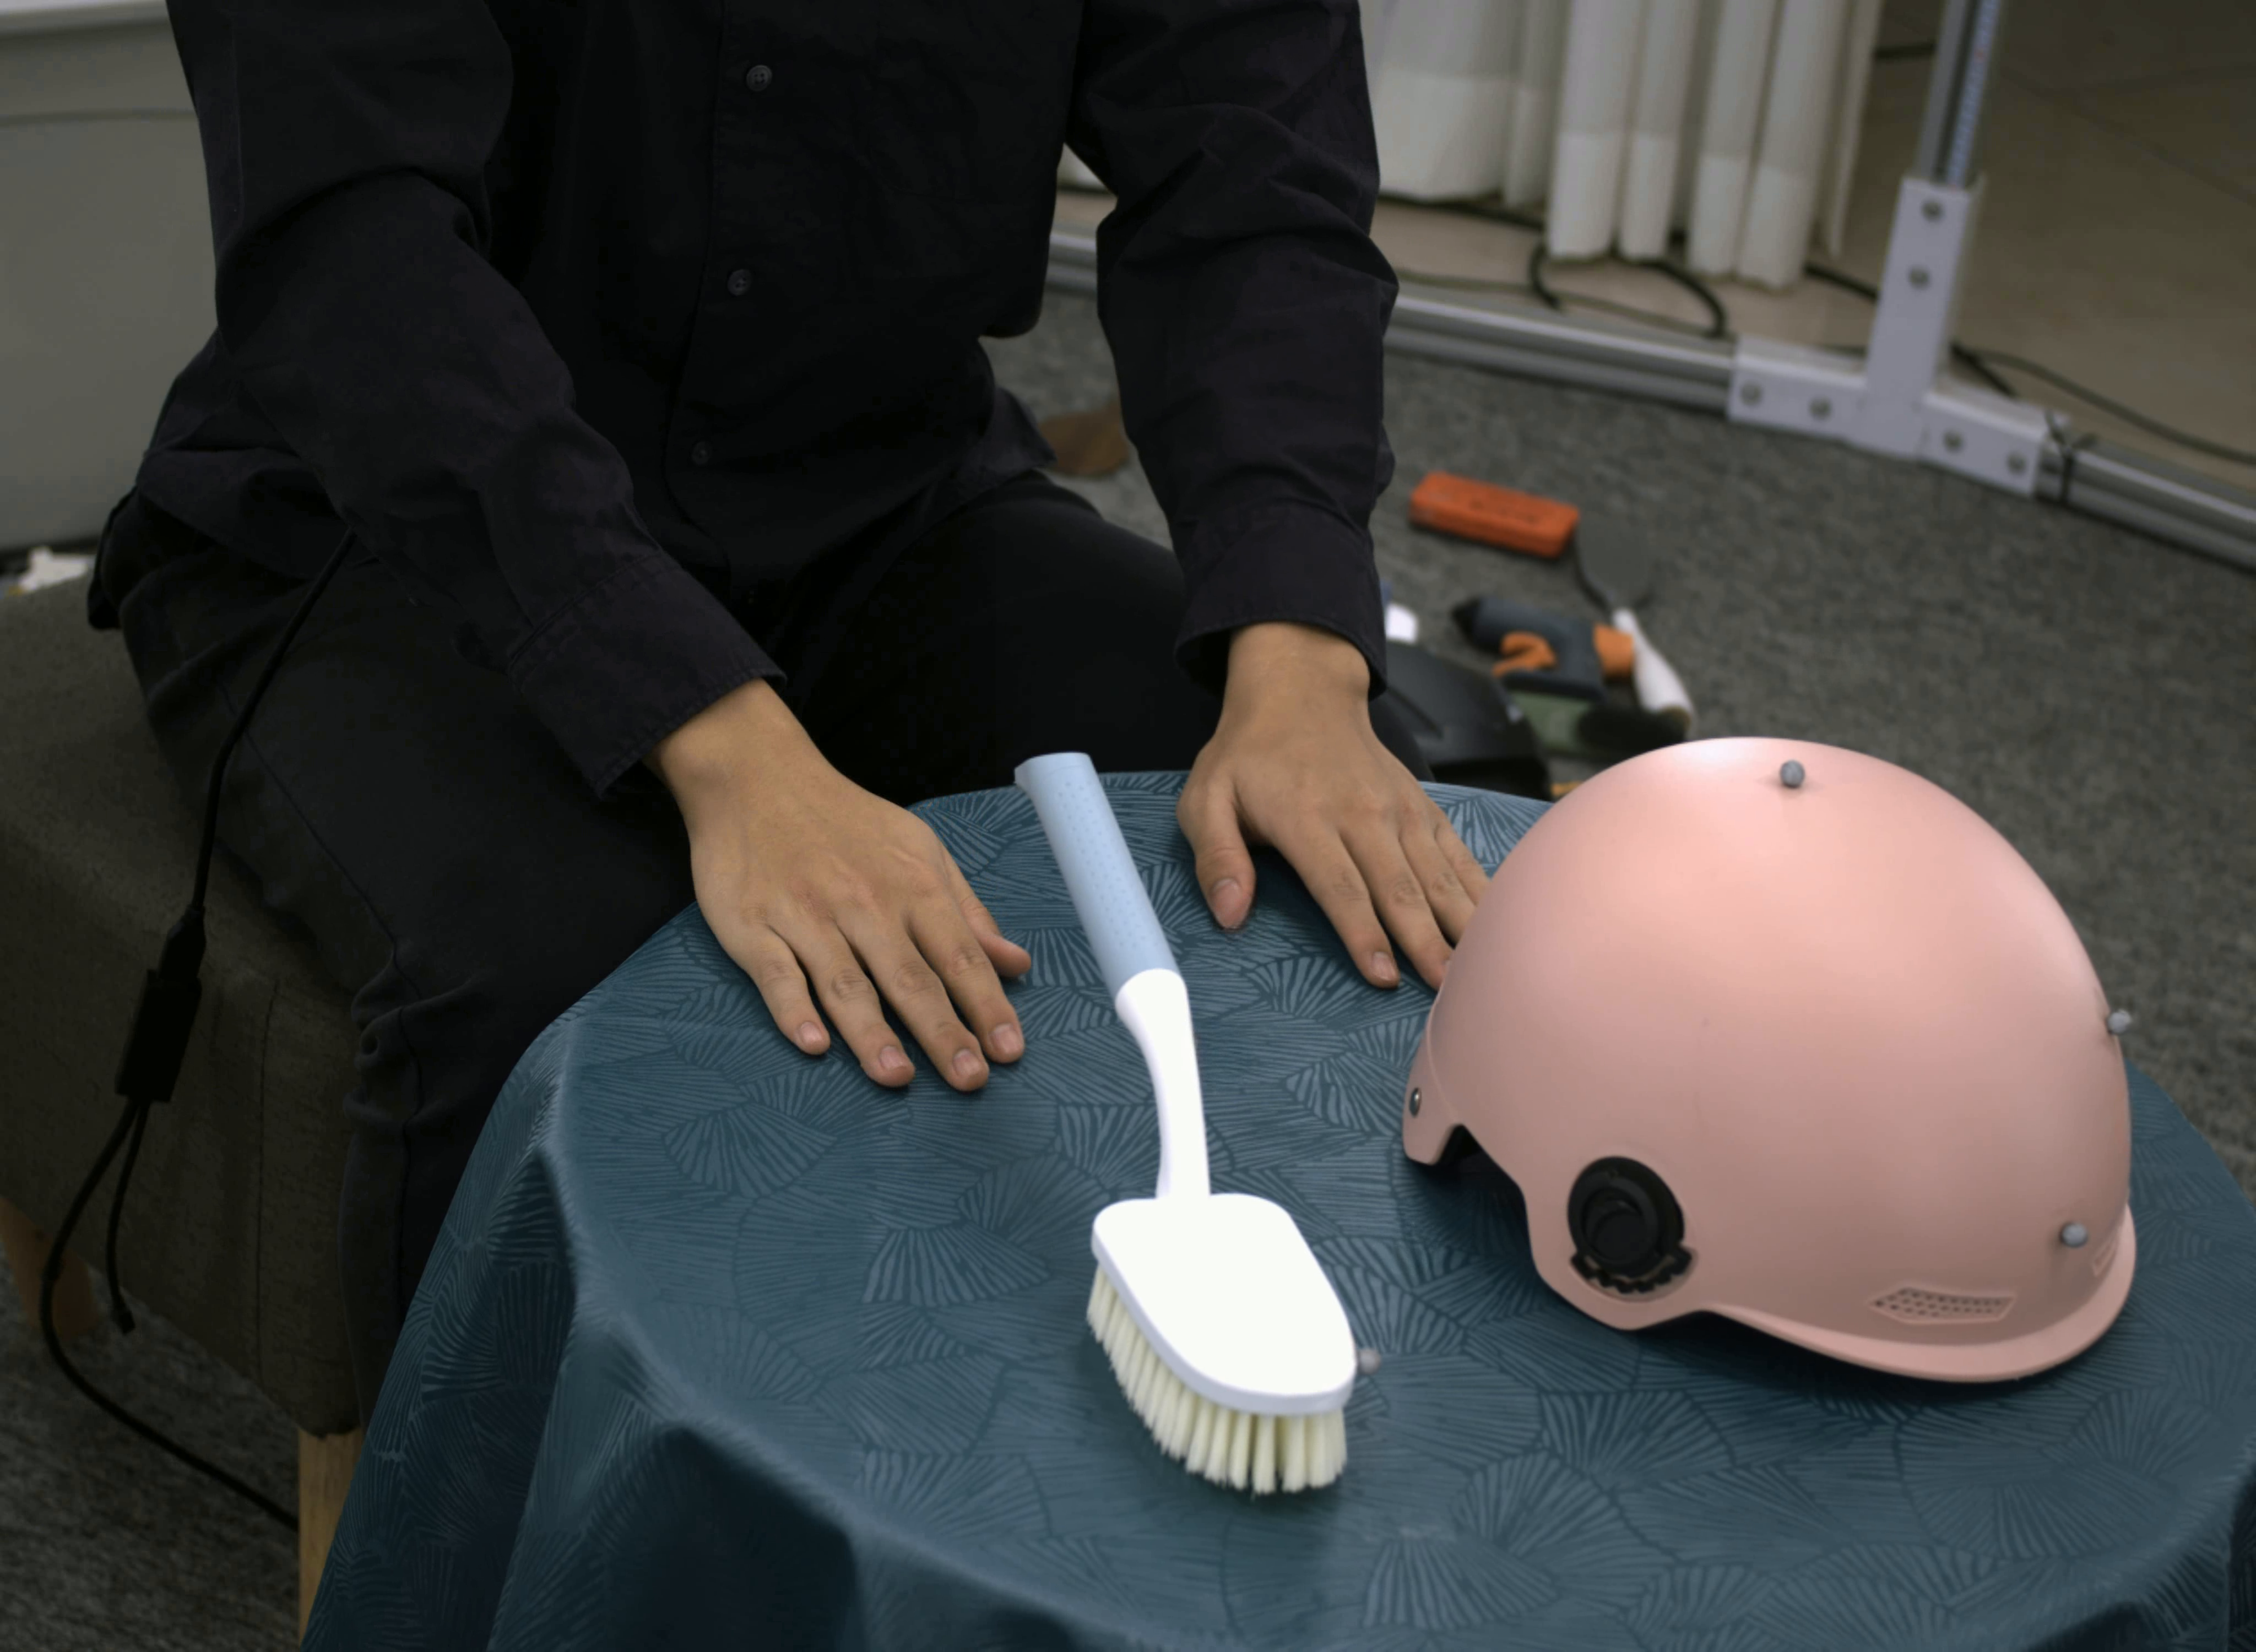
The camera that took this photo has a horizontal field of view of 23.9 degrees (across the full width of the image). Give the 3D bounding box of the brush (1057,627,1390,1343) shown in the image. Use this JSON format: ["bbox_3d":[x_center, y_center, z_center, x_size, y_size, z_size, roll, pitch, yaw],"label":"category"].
[{"bbox_3d":[0.025,0.061,1.784,0.082,0.084,0.328,33,23,-37],"label":"brush"}]

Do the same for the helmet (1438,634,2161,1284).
[{"bbox_3d":[0.245,0.028,1.826,0.233,0.158,0.268,-17,39,-39],"label":"helmet"}]
